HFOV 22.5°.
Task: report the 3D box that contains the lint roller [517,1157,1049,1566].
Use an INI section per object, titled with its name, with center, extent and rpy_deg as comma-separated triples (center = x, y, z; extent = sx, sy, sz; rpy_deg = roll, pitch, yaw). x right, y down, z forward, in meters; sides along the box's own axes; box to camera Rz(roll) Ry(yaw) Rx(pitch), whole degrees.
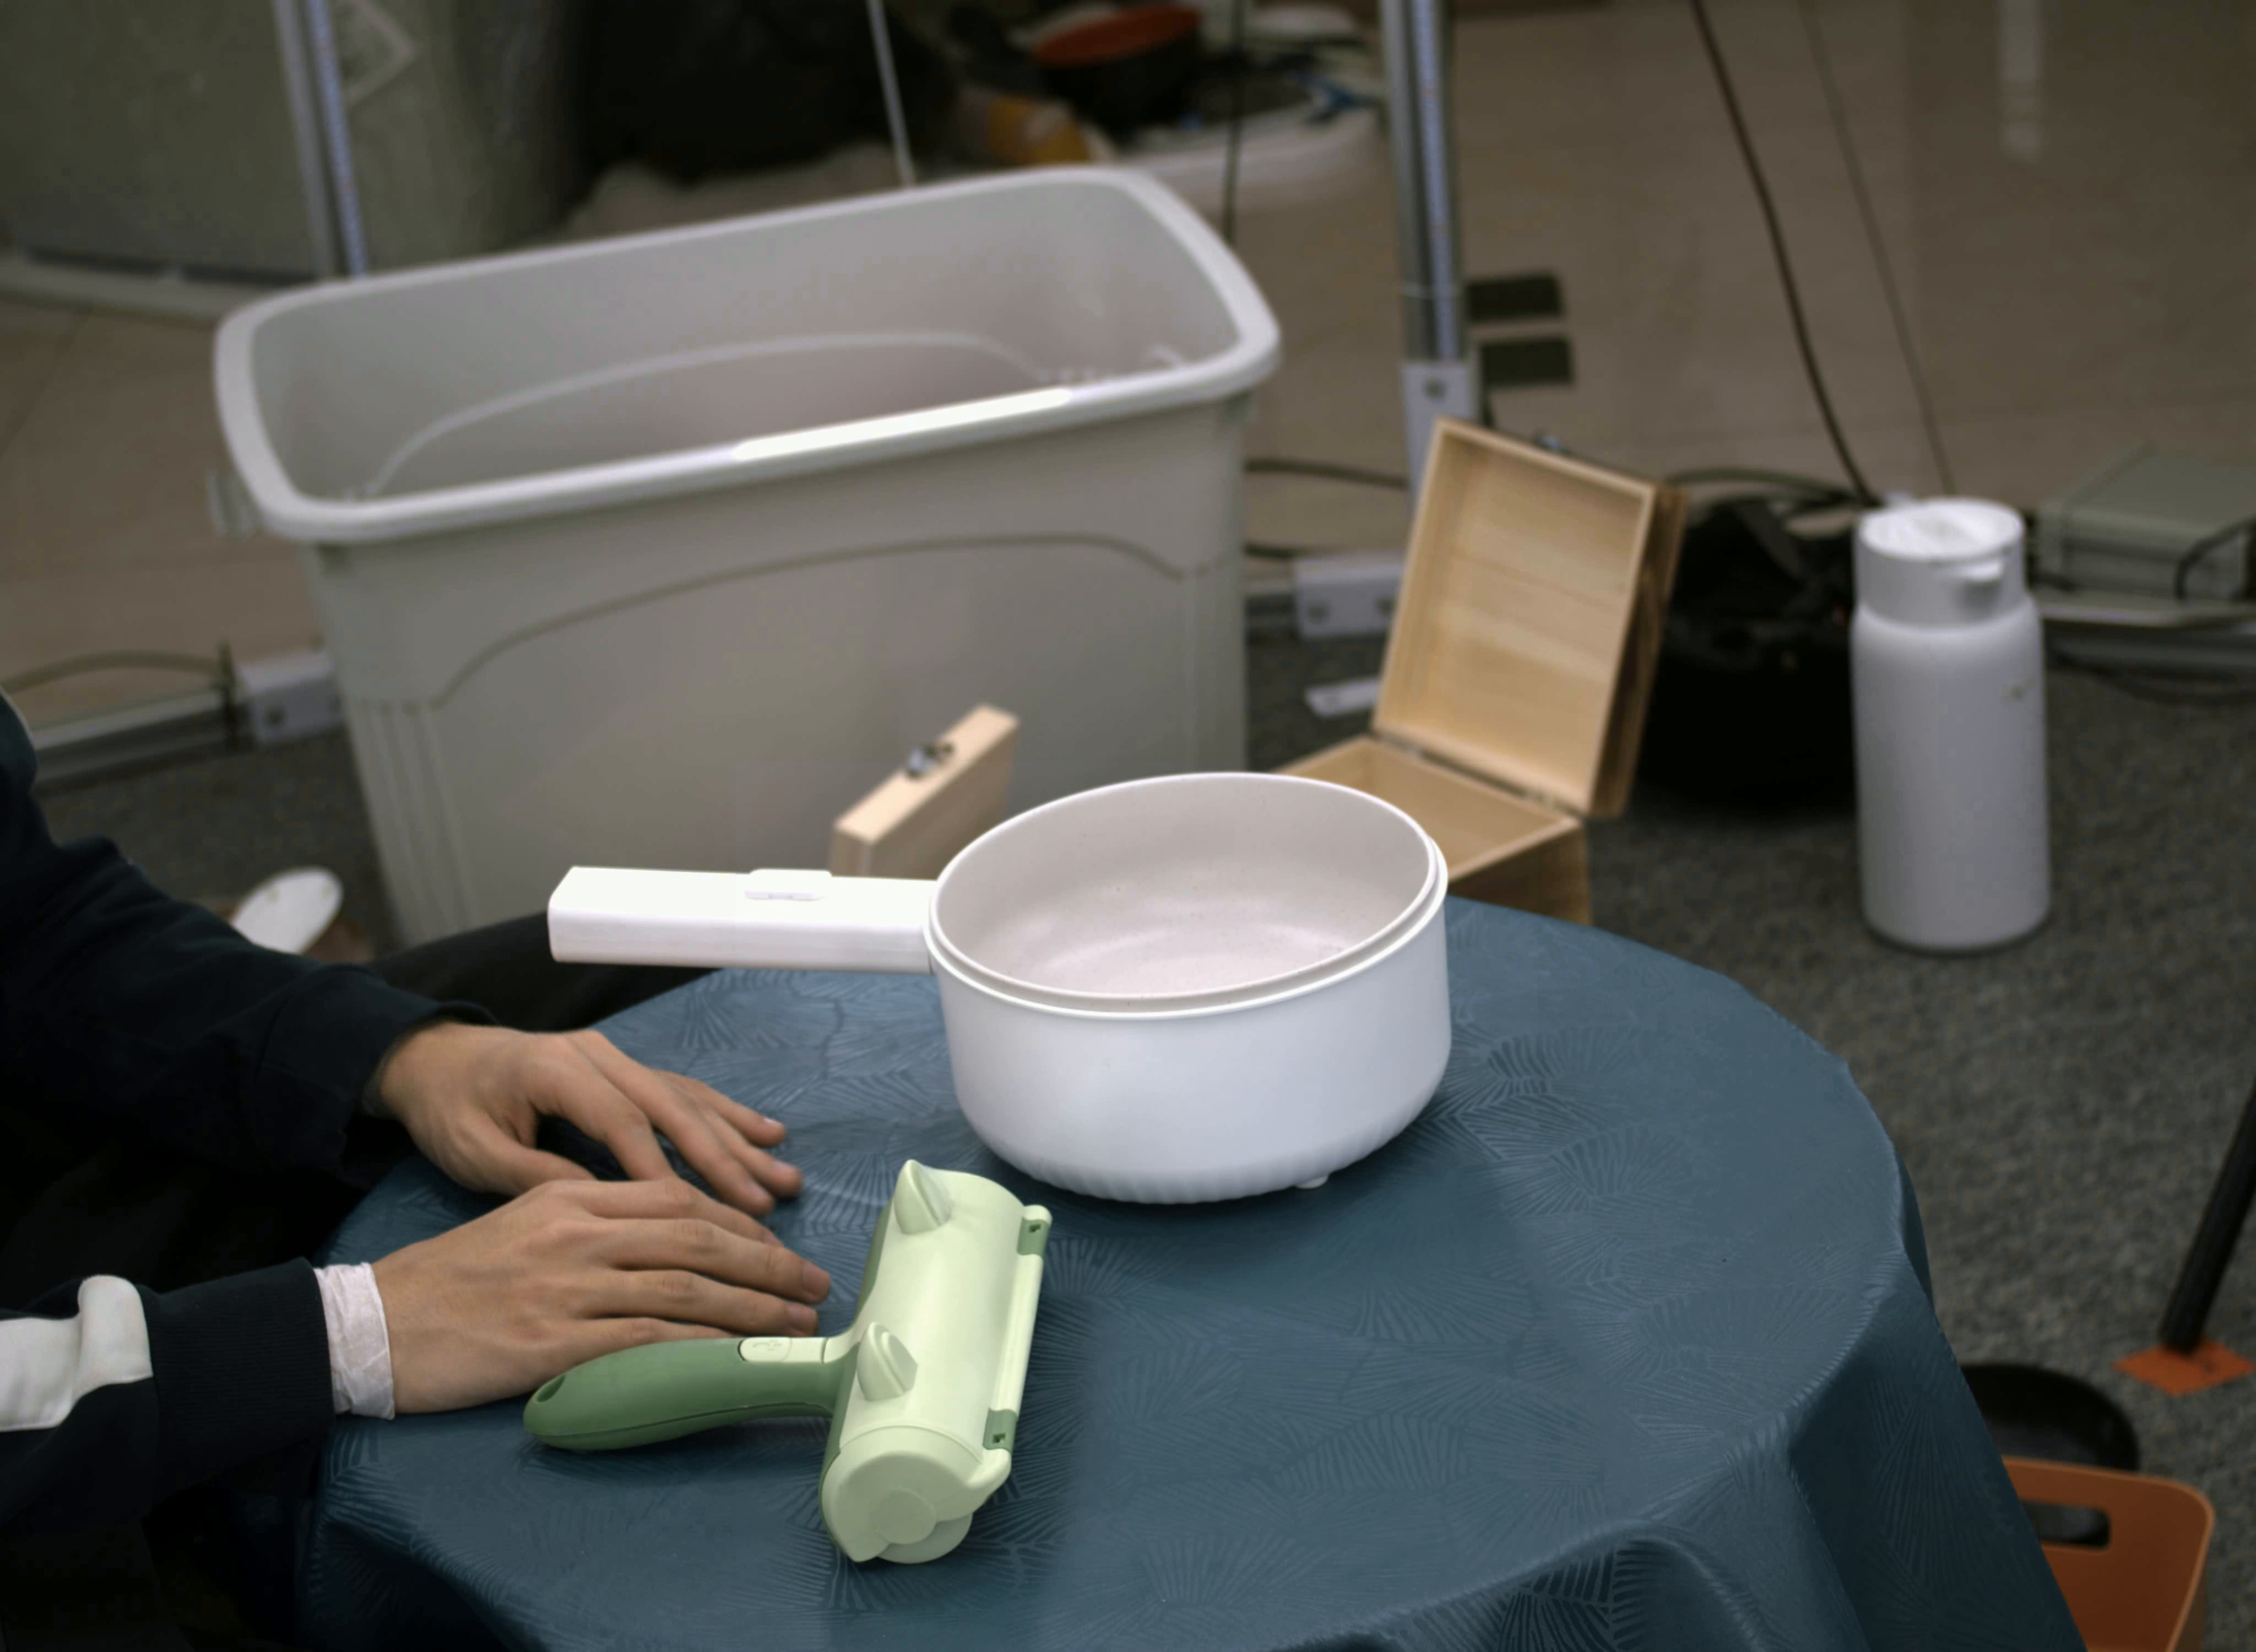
[lint roller]
center = -0.126, 0.180, 1.996
extent = 0.183, 0.083, 0.195
rpy_deg = 2, 26, 4

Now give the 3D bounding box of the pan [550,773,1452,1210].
[pan]
center = -0.048, 0.067, 2.195
extent = 0.354, 0.104, 0.198
rpy_deg = 0, 27, 16
